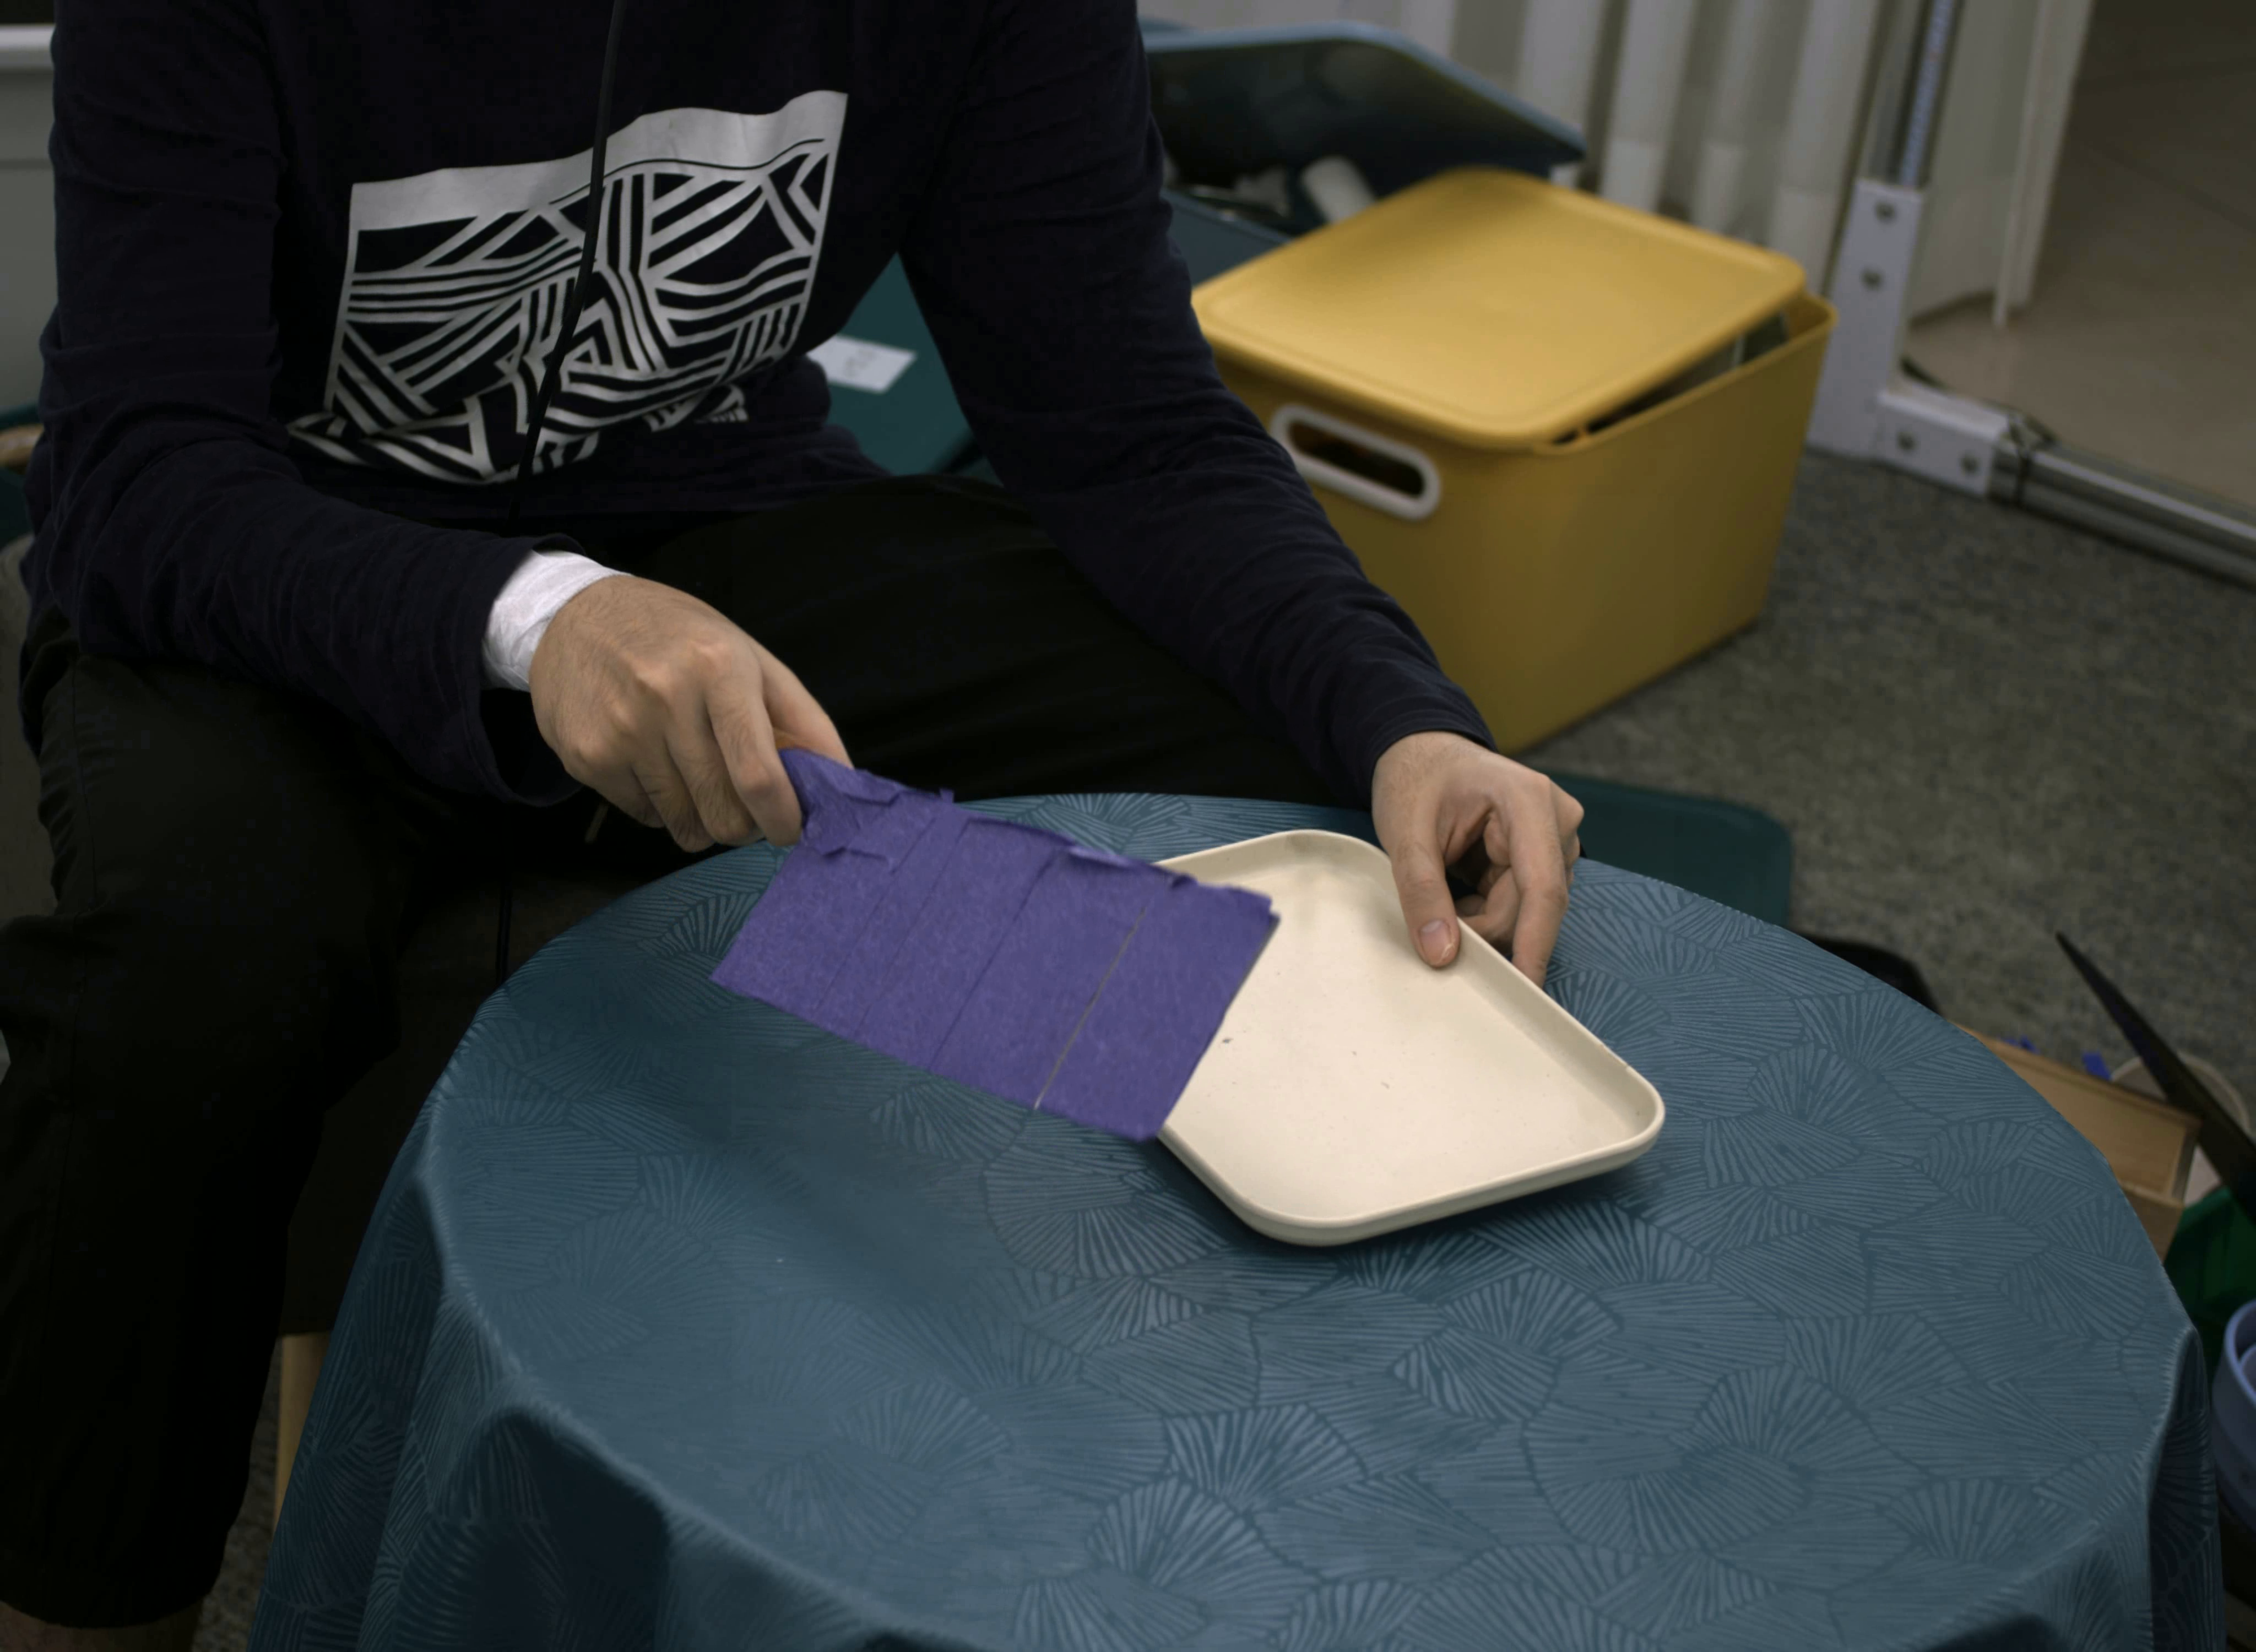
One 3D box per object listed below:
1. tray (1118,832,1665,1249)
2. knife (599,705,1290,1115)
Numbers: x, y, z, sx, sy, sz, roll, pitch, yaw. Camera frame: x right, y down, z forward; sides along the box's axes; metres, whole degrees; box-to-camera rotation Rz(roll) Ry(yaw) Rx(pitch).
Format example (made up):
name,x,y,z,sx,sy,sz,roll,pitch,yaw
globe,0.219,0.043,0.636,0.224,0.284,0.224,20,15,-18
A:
name,x,y,z,sx,sy,sz,roll,pitch,yaw
tray,0.065,0.074,1.888,0.170,0.017,0.242,-13,33,-25
knife,-0.084,0.026,1.782,0.317,0.032,0.104,16,67,44
